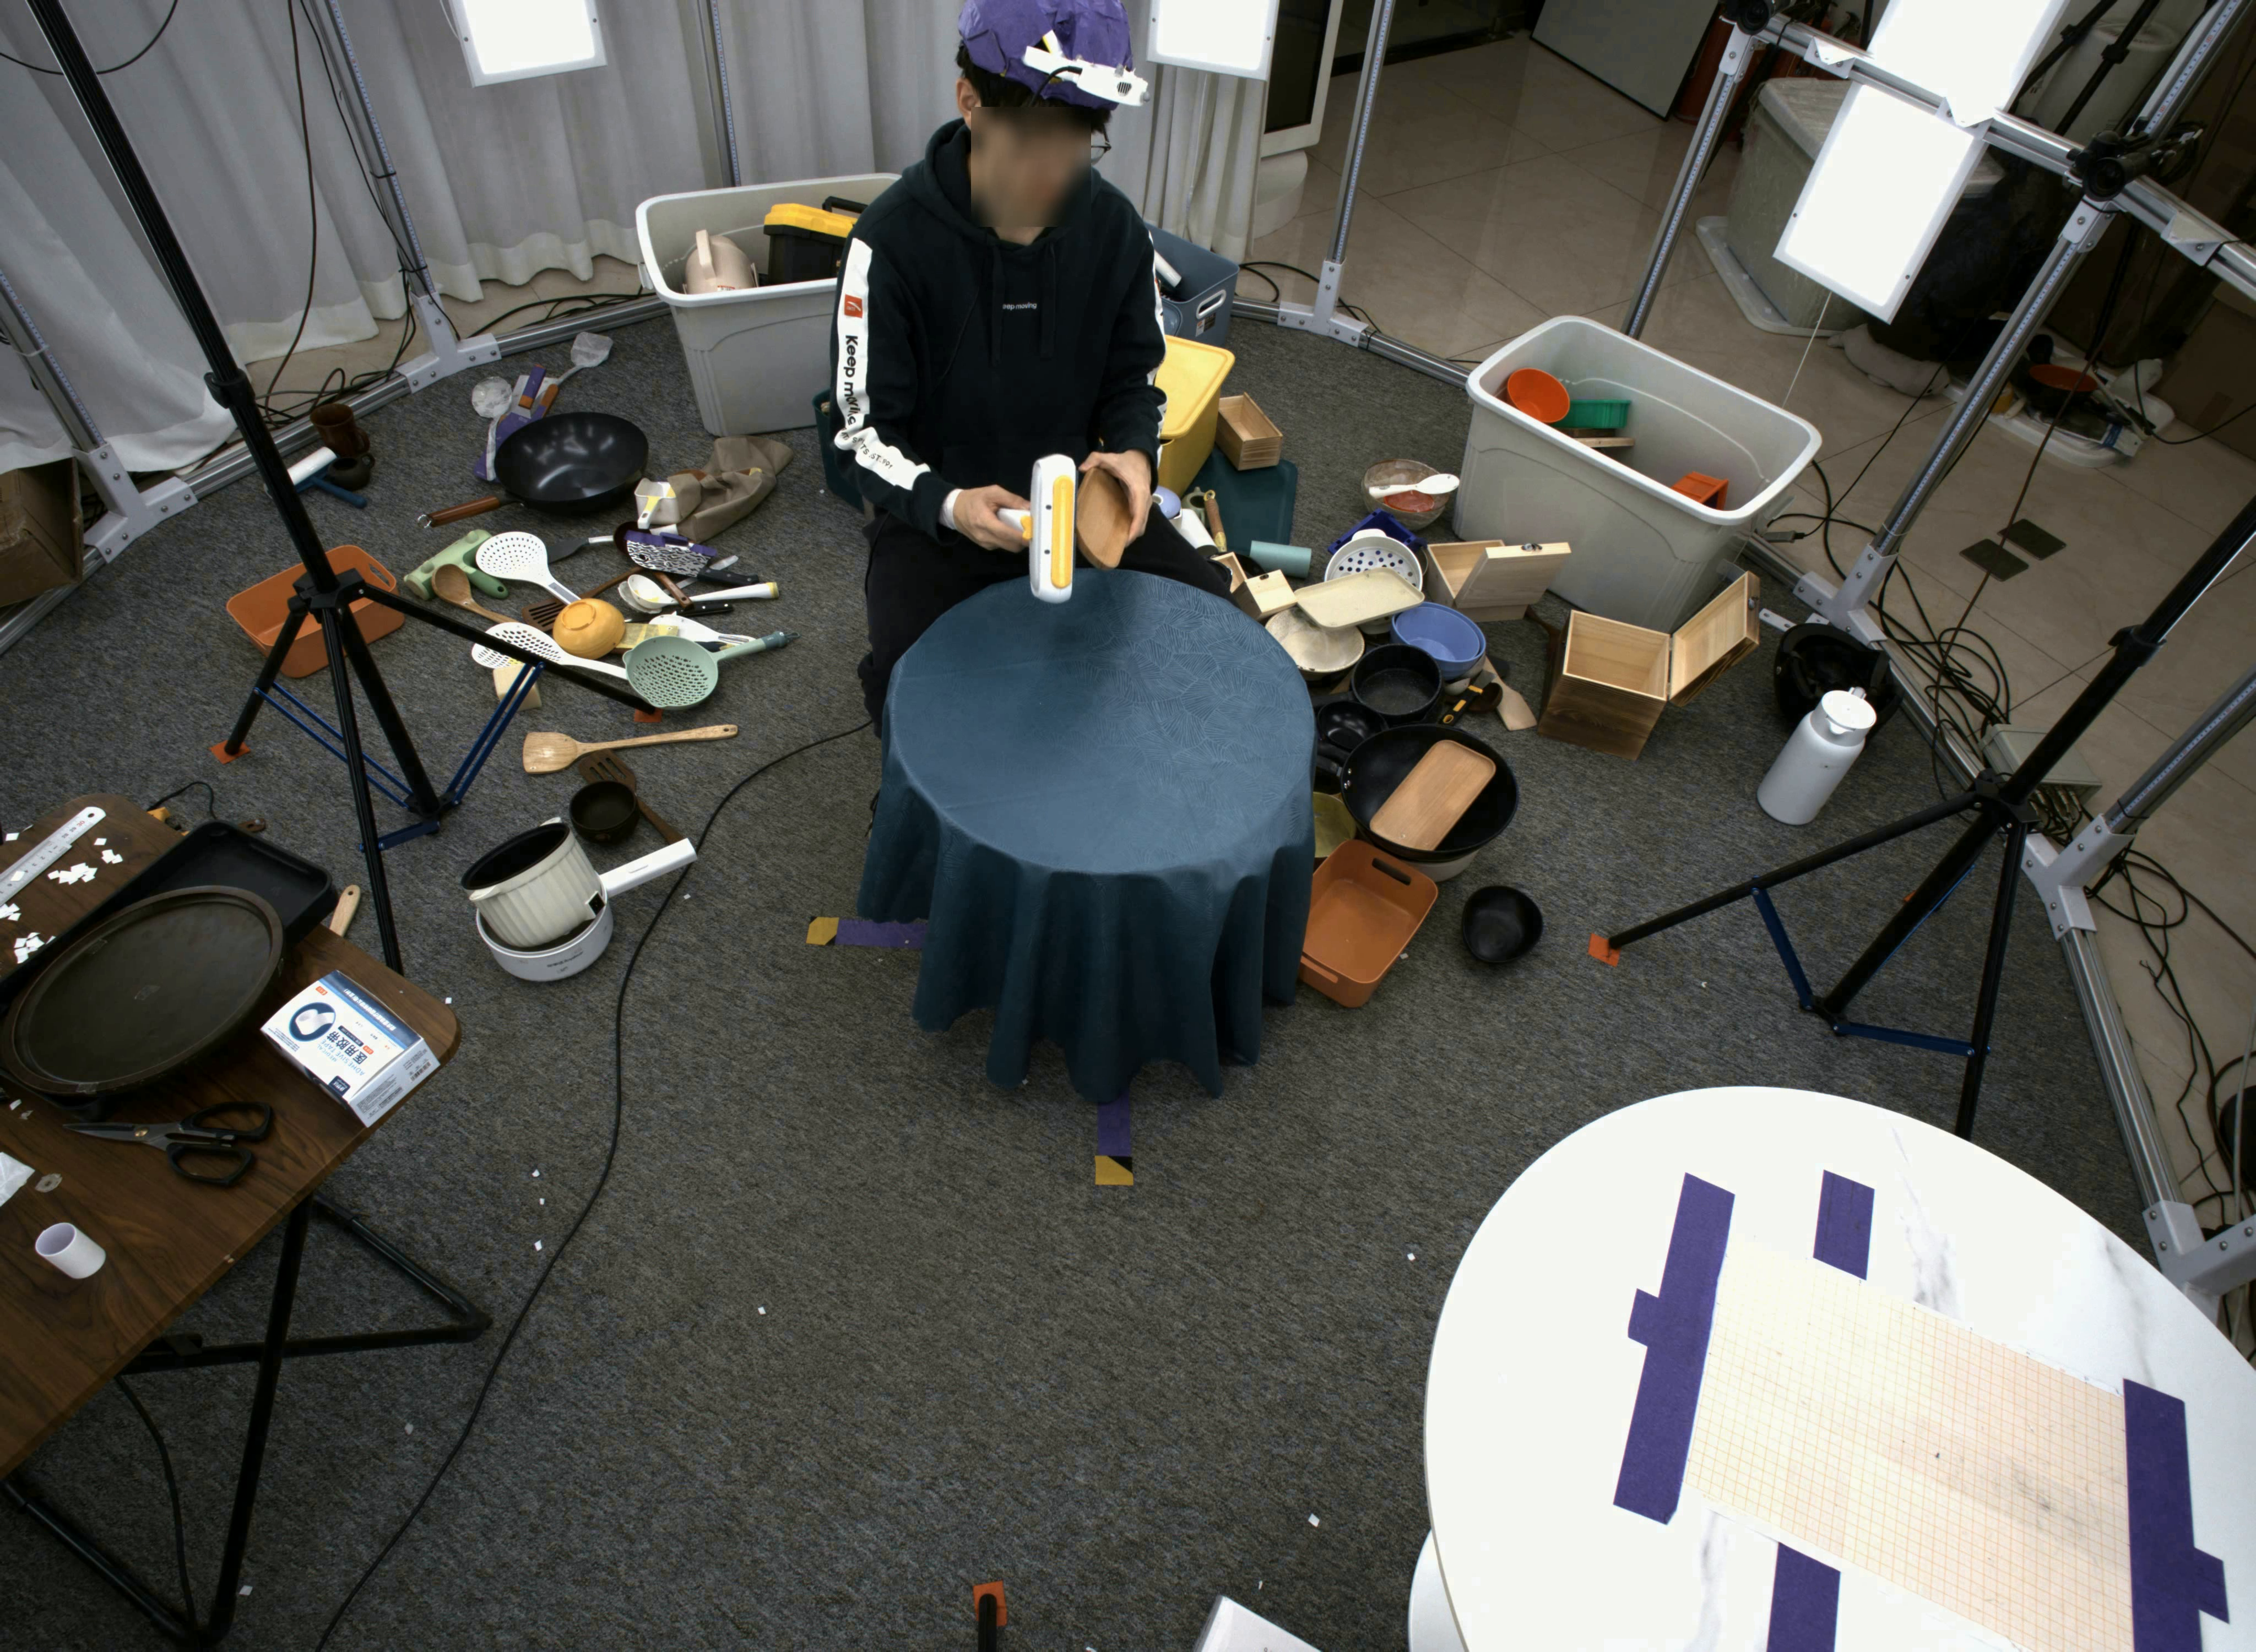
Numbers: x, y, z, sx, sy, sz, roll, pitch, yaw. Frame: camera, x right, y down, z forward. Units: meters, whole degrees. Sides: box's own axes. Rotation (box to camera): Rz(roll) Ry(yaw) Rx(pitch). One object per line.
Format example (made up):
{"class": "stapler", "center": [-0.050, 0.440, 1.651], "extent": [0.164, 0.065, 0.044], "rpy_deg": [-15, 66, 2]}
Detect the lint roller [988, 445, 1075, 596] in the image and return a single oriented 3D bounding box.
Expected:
{"class": "lint roller", "center": [-0.131, -0.411, 1.744], "extent": [0.074, 0.190, 0.195], "rpy_deg": [-10, 16, -23]}

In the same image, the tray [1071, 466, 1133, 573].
{"class": "tray", "center": [-0.037, -0.428, 1.797], "extent": [0.020, 0.100, 0.236], "rpy_deg": [-29, 26, 28]}
